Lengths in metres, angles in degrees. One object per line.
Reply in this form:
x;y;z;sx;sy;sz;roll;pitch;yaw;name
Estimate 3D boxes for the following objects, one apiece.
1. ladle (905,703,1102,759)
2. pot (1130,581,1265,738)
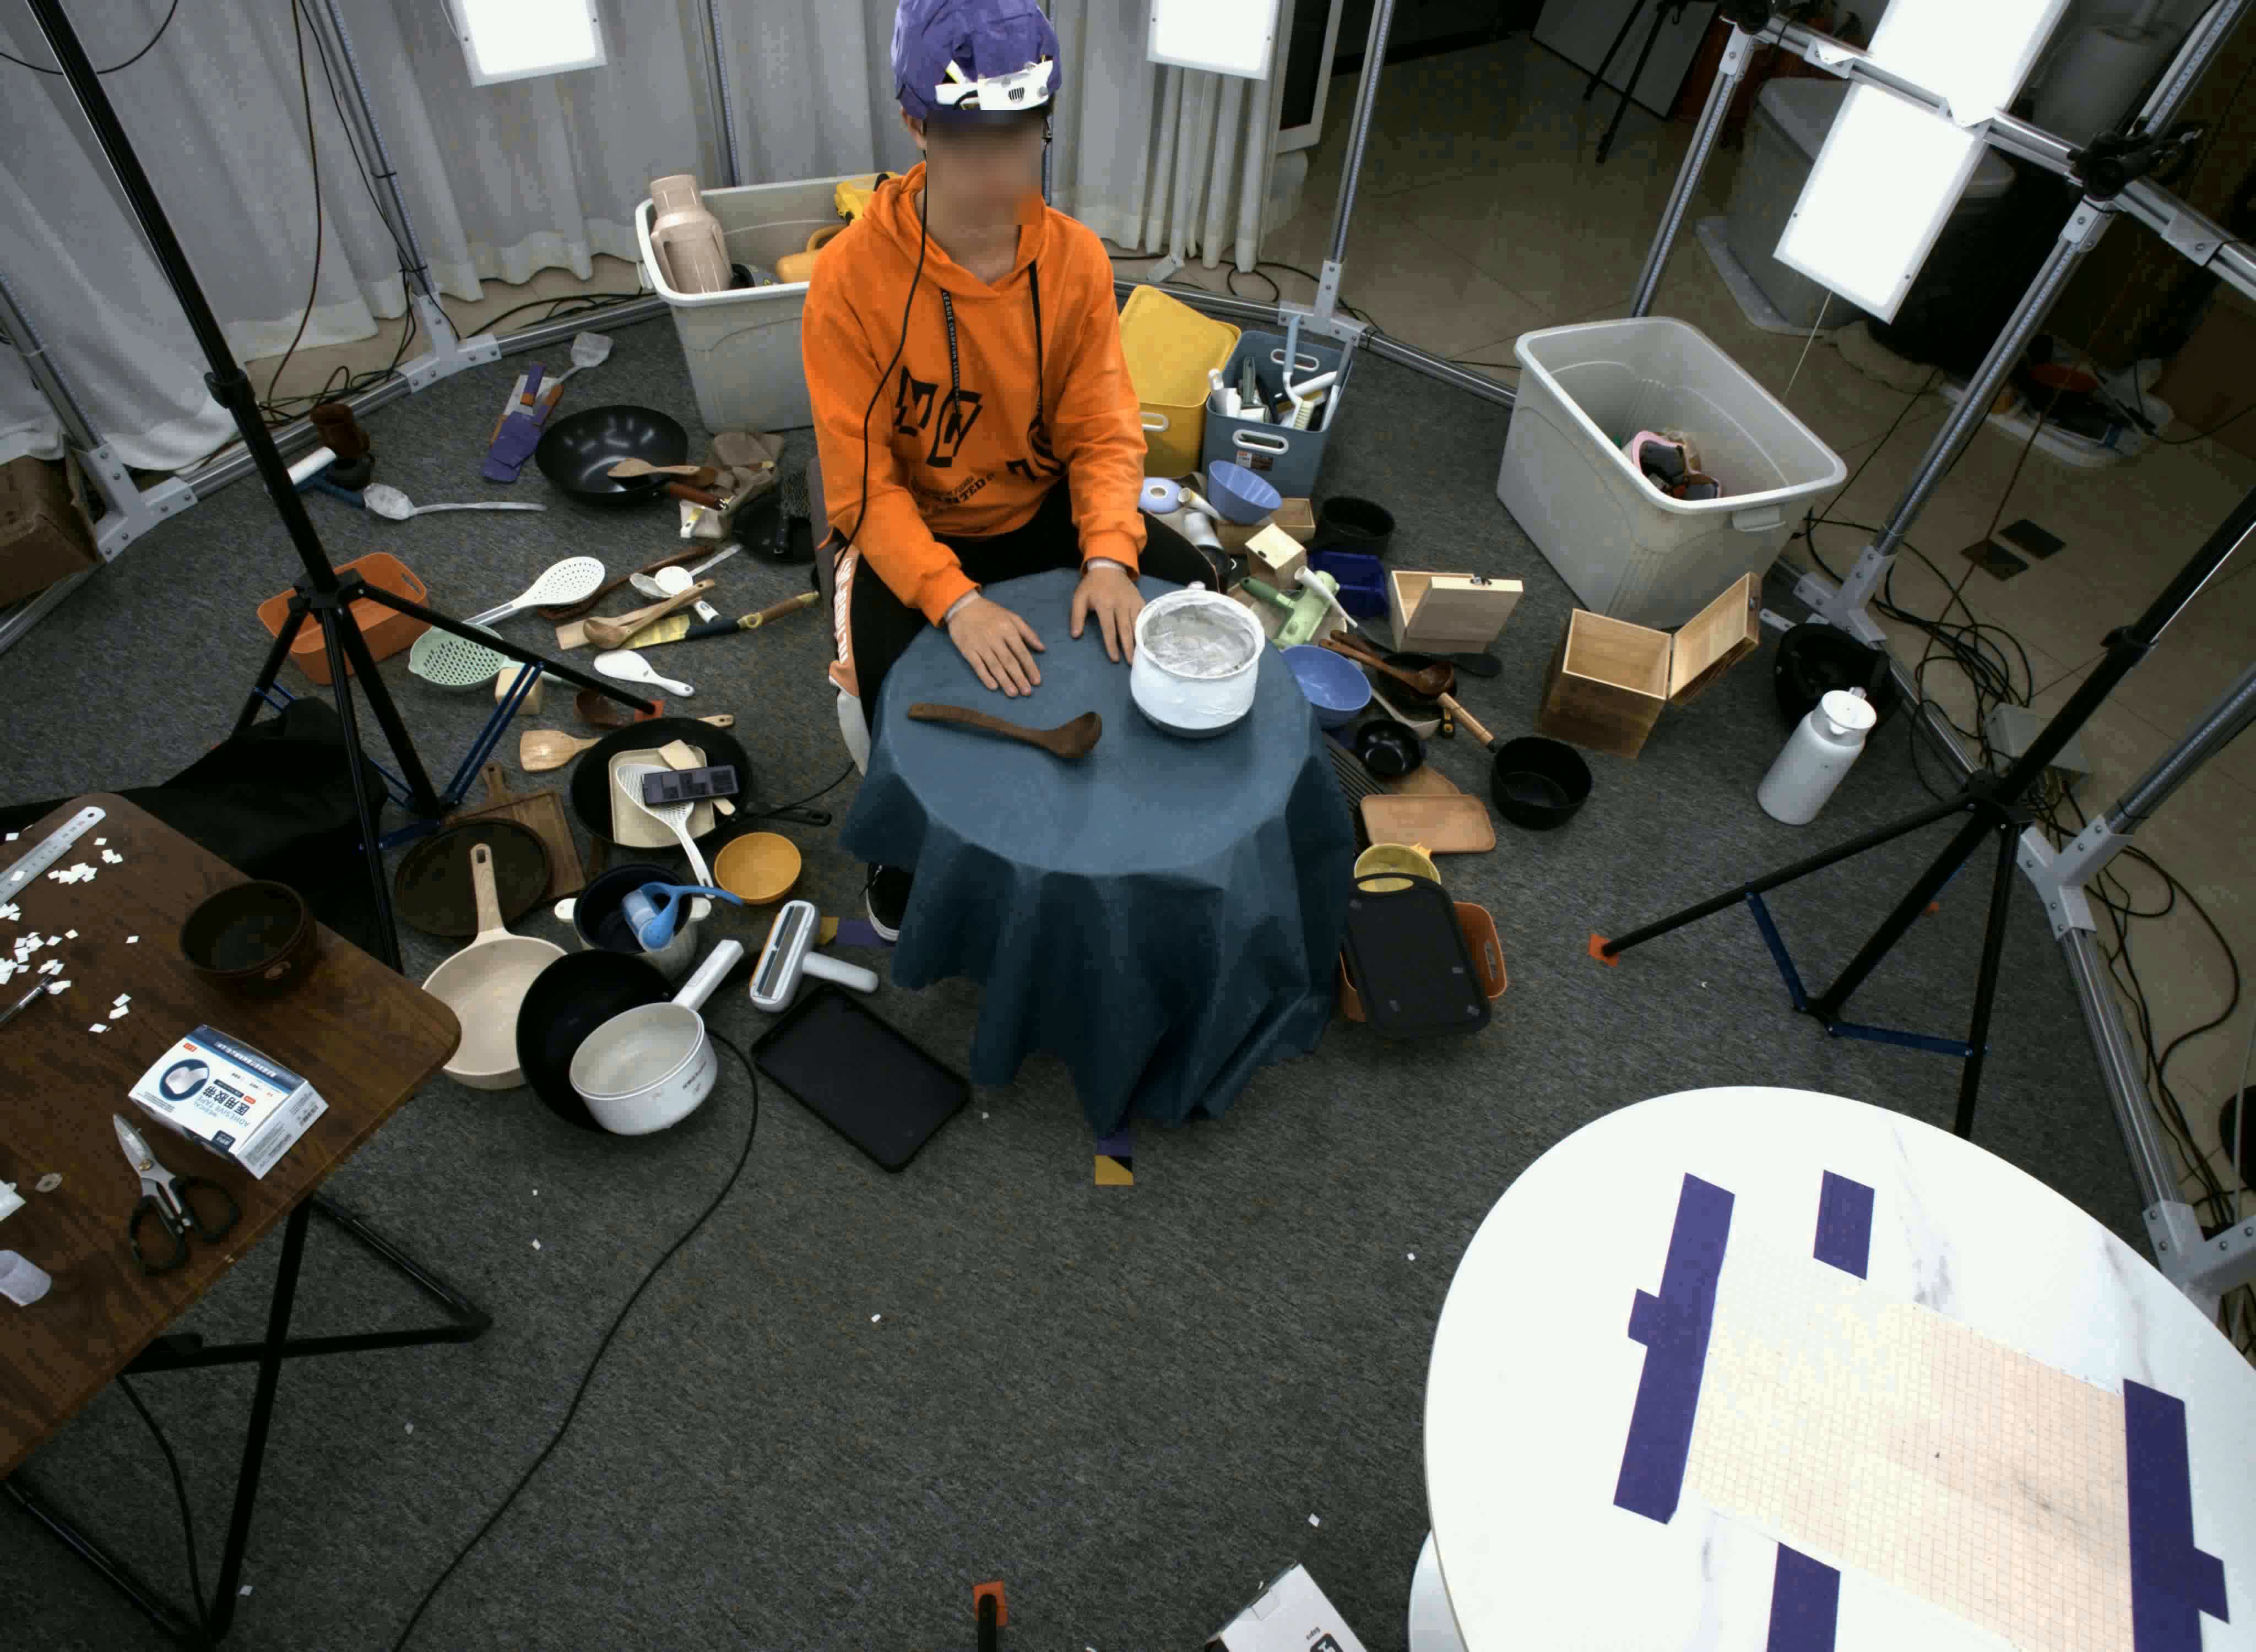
-0.170;-0.148;1.740;0.275;0.069;0.077;14;46;8;ladle
0.093;-0.242;1.797;0.178;0.133;0.239;2;49;-3;pot
